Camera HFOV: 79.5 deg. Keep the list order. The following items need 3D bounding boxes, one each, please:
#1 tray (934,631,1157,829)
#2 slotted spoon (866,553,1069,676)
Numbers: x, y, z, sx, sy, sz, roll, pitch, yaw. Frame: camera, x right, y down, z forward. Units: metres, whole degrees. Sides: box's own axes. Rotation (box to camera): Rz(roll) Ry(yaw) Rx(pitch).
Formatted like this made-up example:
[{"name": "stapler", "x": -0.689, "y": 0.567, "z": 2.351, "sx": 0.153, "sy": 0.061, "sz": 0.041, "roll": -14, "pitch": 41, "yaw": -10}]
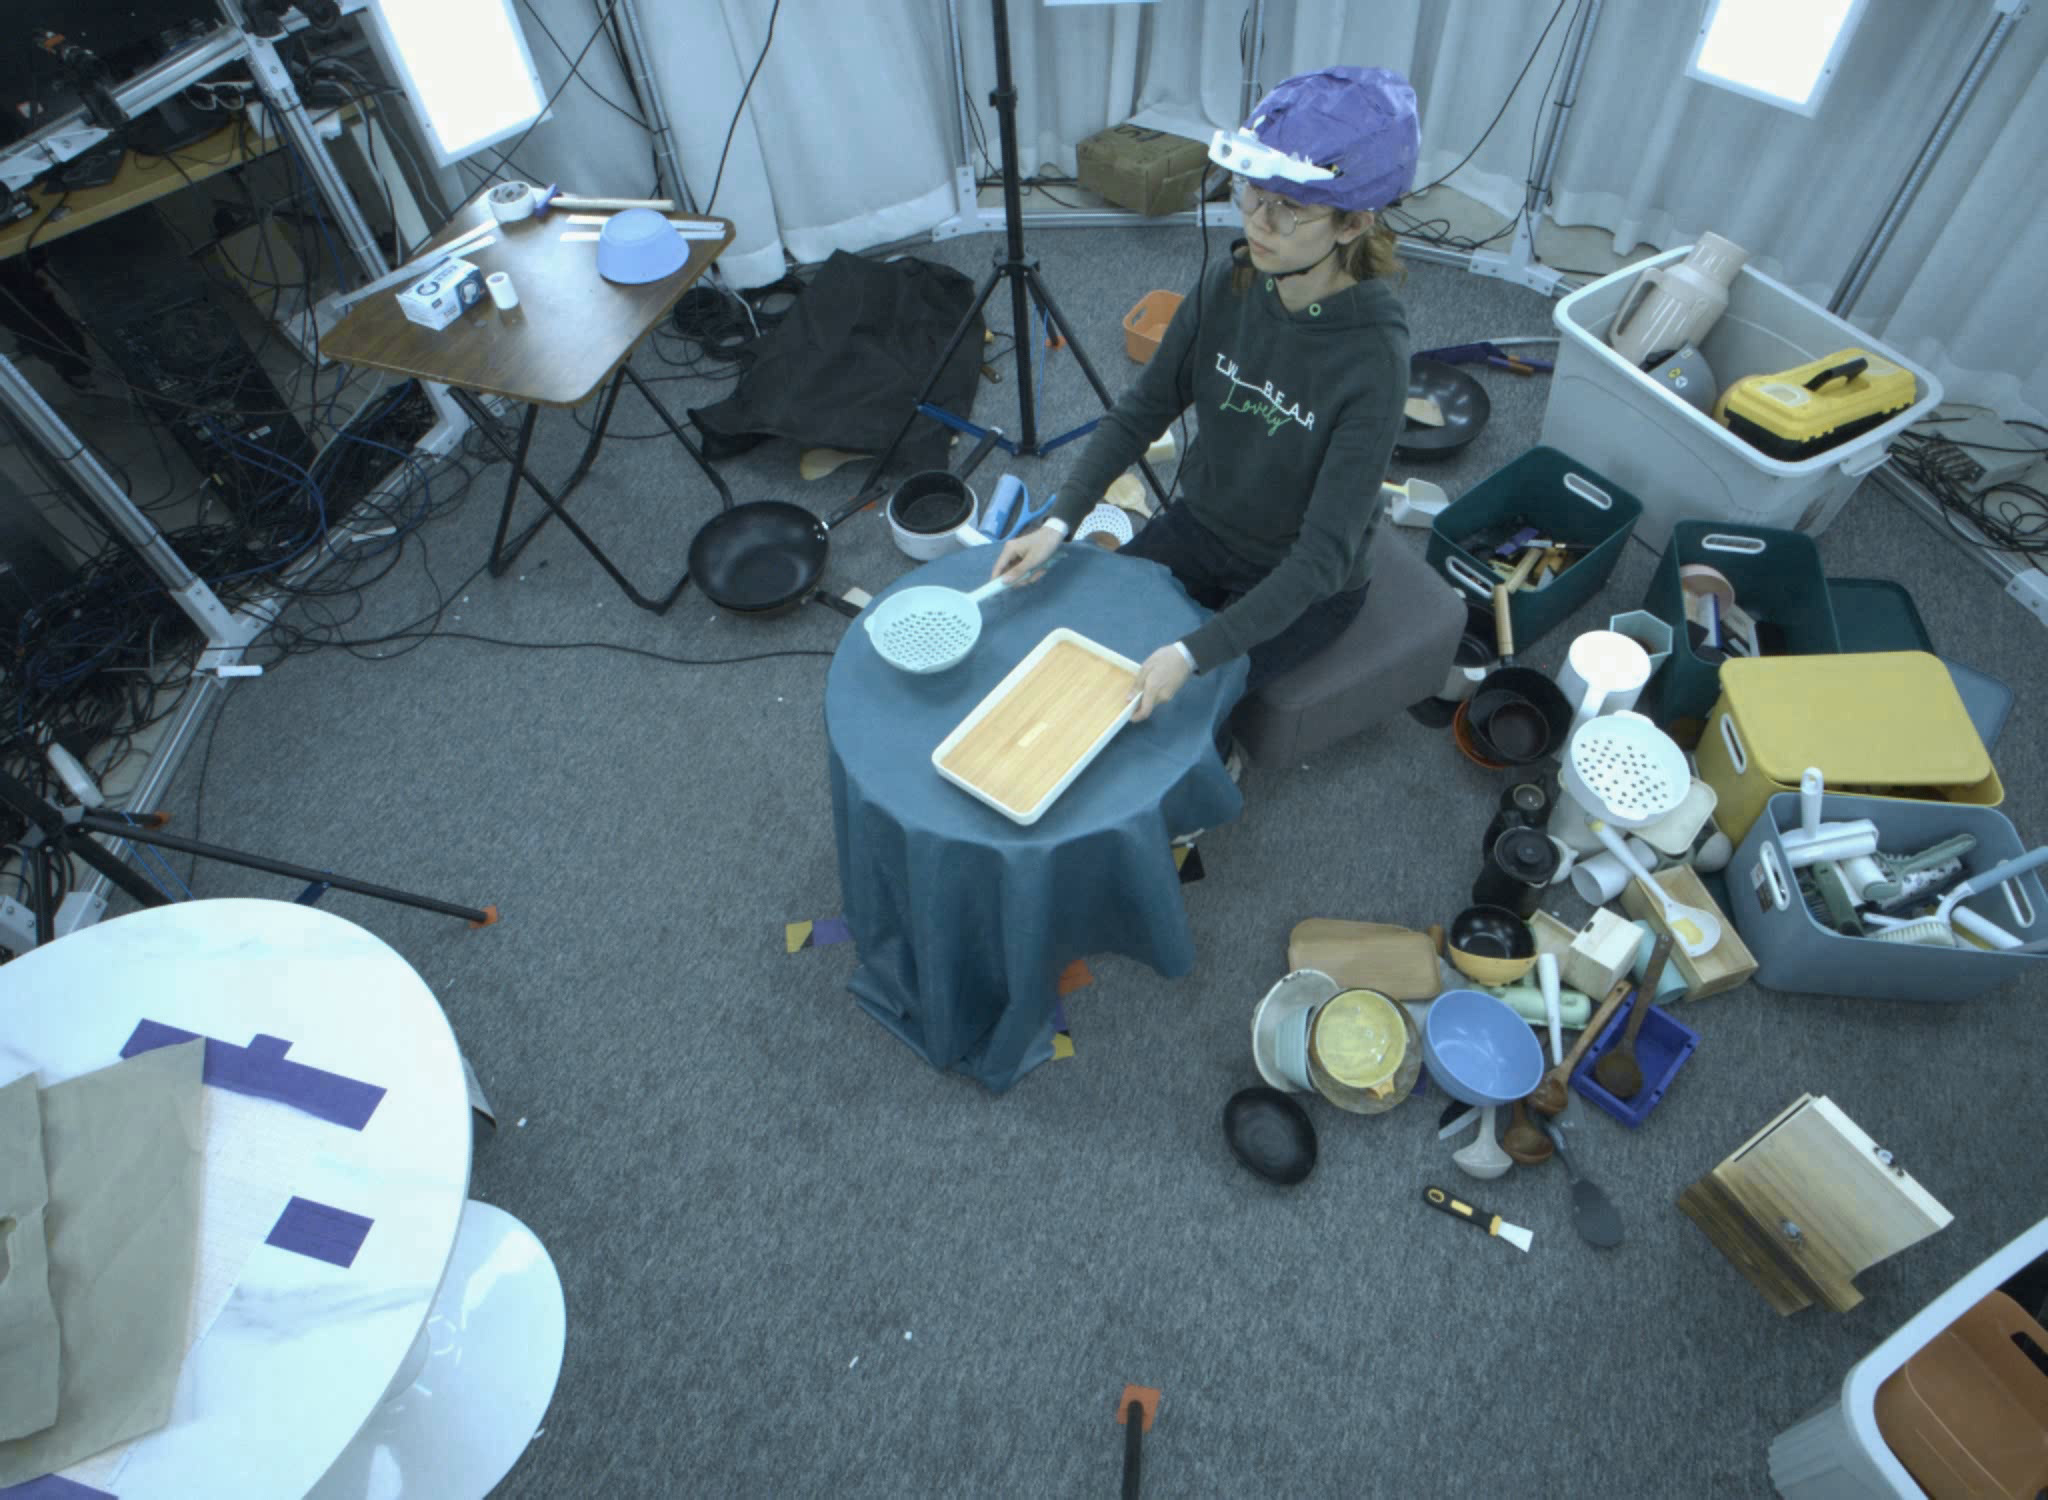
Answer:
[{"name": "tray", "x": 0.033, "y": -0.035, "z": 1.766, "sx": 0.188, "sy": 0.028, "sz": 0.301, "roll": 31, "pitch": 66, "yaw": 29}, {"name": "slotted spoon", "x": -0.072, "y": -0.228, "z": 1.900, "sx": 0.361, "sy": 0.076, "sz": 0.166, "roll": -38, "pitch": 61, "yaw": -17}]
